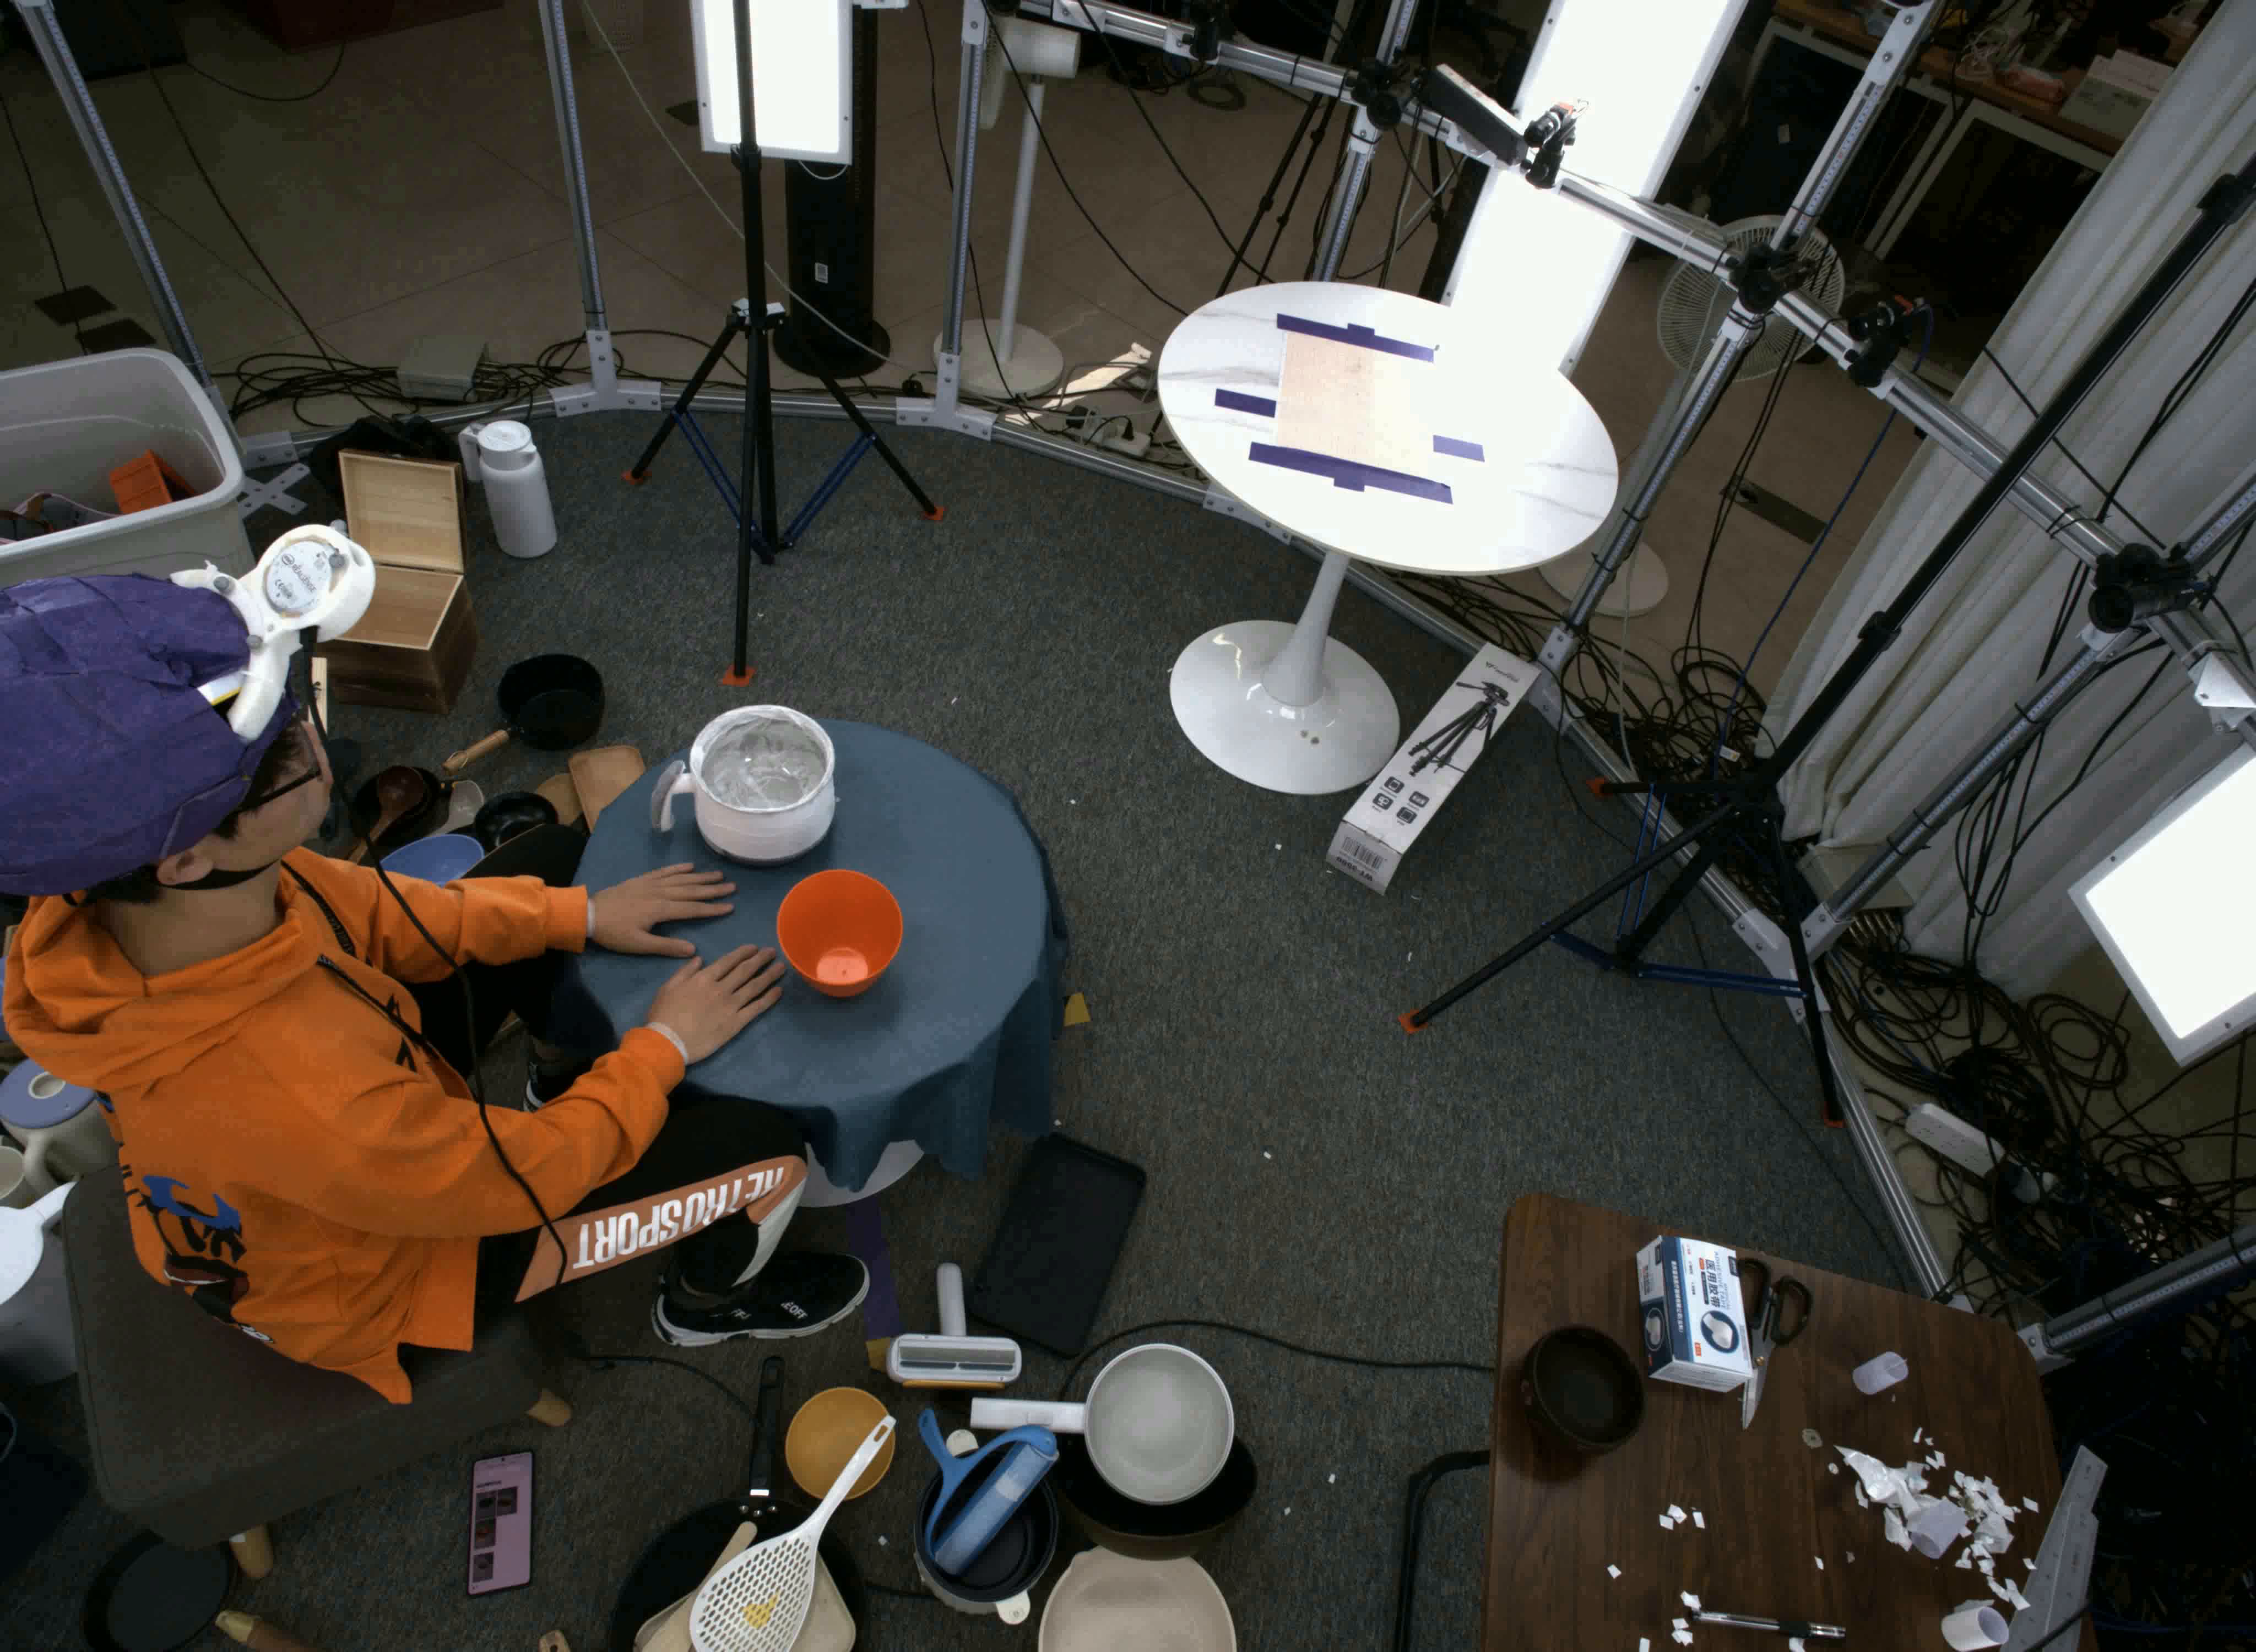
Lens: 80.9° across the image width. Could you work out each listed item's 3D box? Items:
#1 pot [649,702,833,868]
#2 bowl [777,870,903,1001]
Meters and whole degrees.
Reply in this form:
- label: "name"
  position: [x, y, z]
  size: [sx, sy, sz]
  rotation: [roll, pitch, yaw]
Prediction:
- label: "pot"
  position: [-0.492, -0.045, 1.640]
  size: [0.235, 0.139, 0.174]
  rotation: [-9, 55, -20]
- label: "bowl"
  position: [-0.347, 0.142, 1.565]
  size: [0.148, 0.106, 0.145]
  rotation: [8, 53, -9]
